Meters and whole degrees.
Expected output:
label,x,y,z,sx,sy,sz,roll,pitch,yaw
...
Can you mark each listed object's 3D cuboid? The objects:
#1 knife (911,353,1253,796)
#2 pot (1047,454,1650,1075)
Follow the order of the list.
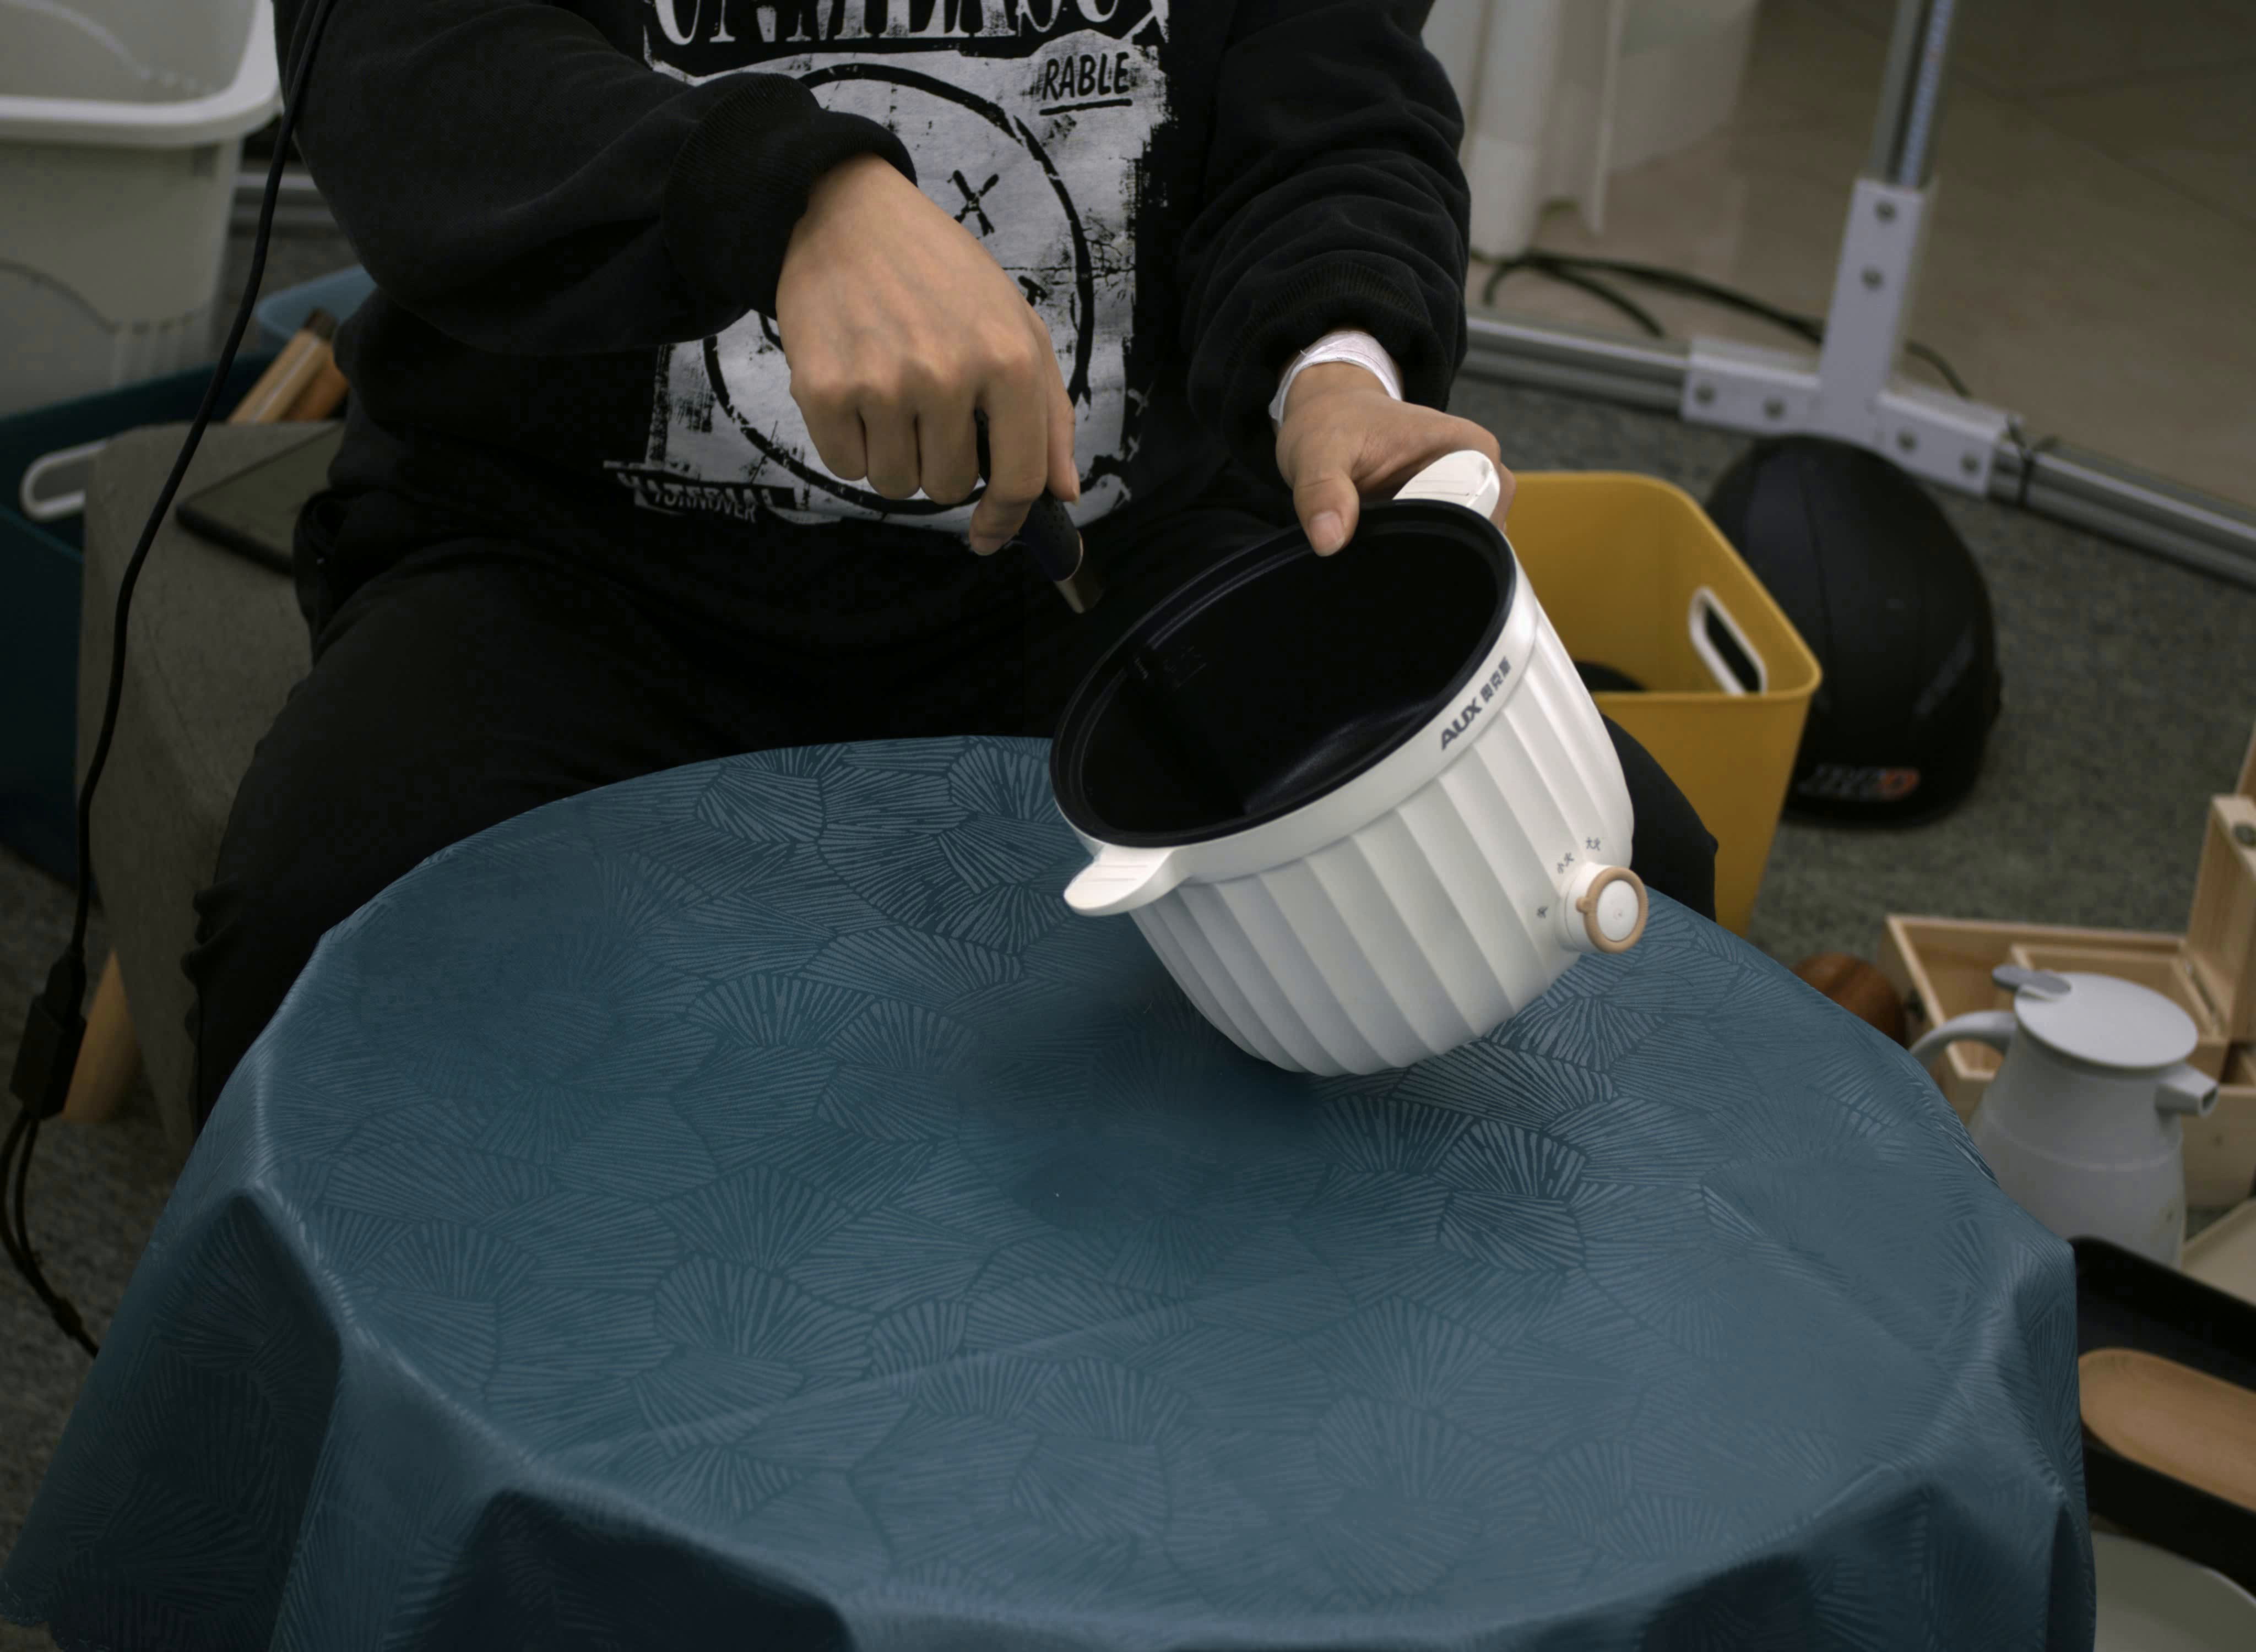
label,x,y,z,sx,sy,sz,roll,pitch,yaw
knife,-0.013,-0.082,1.894,0.017,0.224,0.026,-21,32,26
pot,0.087,-0.008,1.875,0.191,0.141,0.241,0,43,50
